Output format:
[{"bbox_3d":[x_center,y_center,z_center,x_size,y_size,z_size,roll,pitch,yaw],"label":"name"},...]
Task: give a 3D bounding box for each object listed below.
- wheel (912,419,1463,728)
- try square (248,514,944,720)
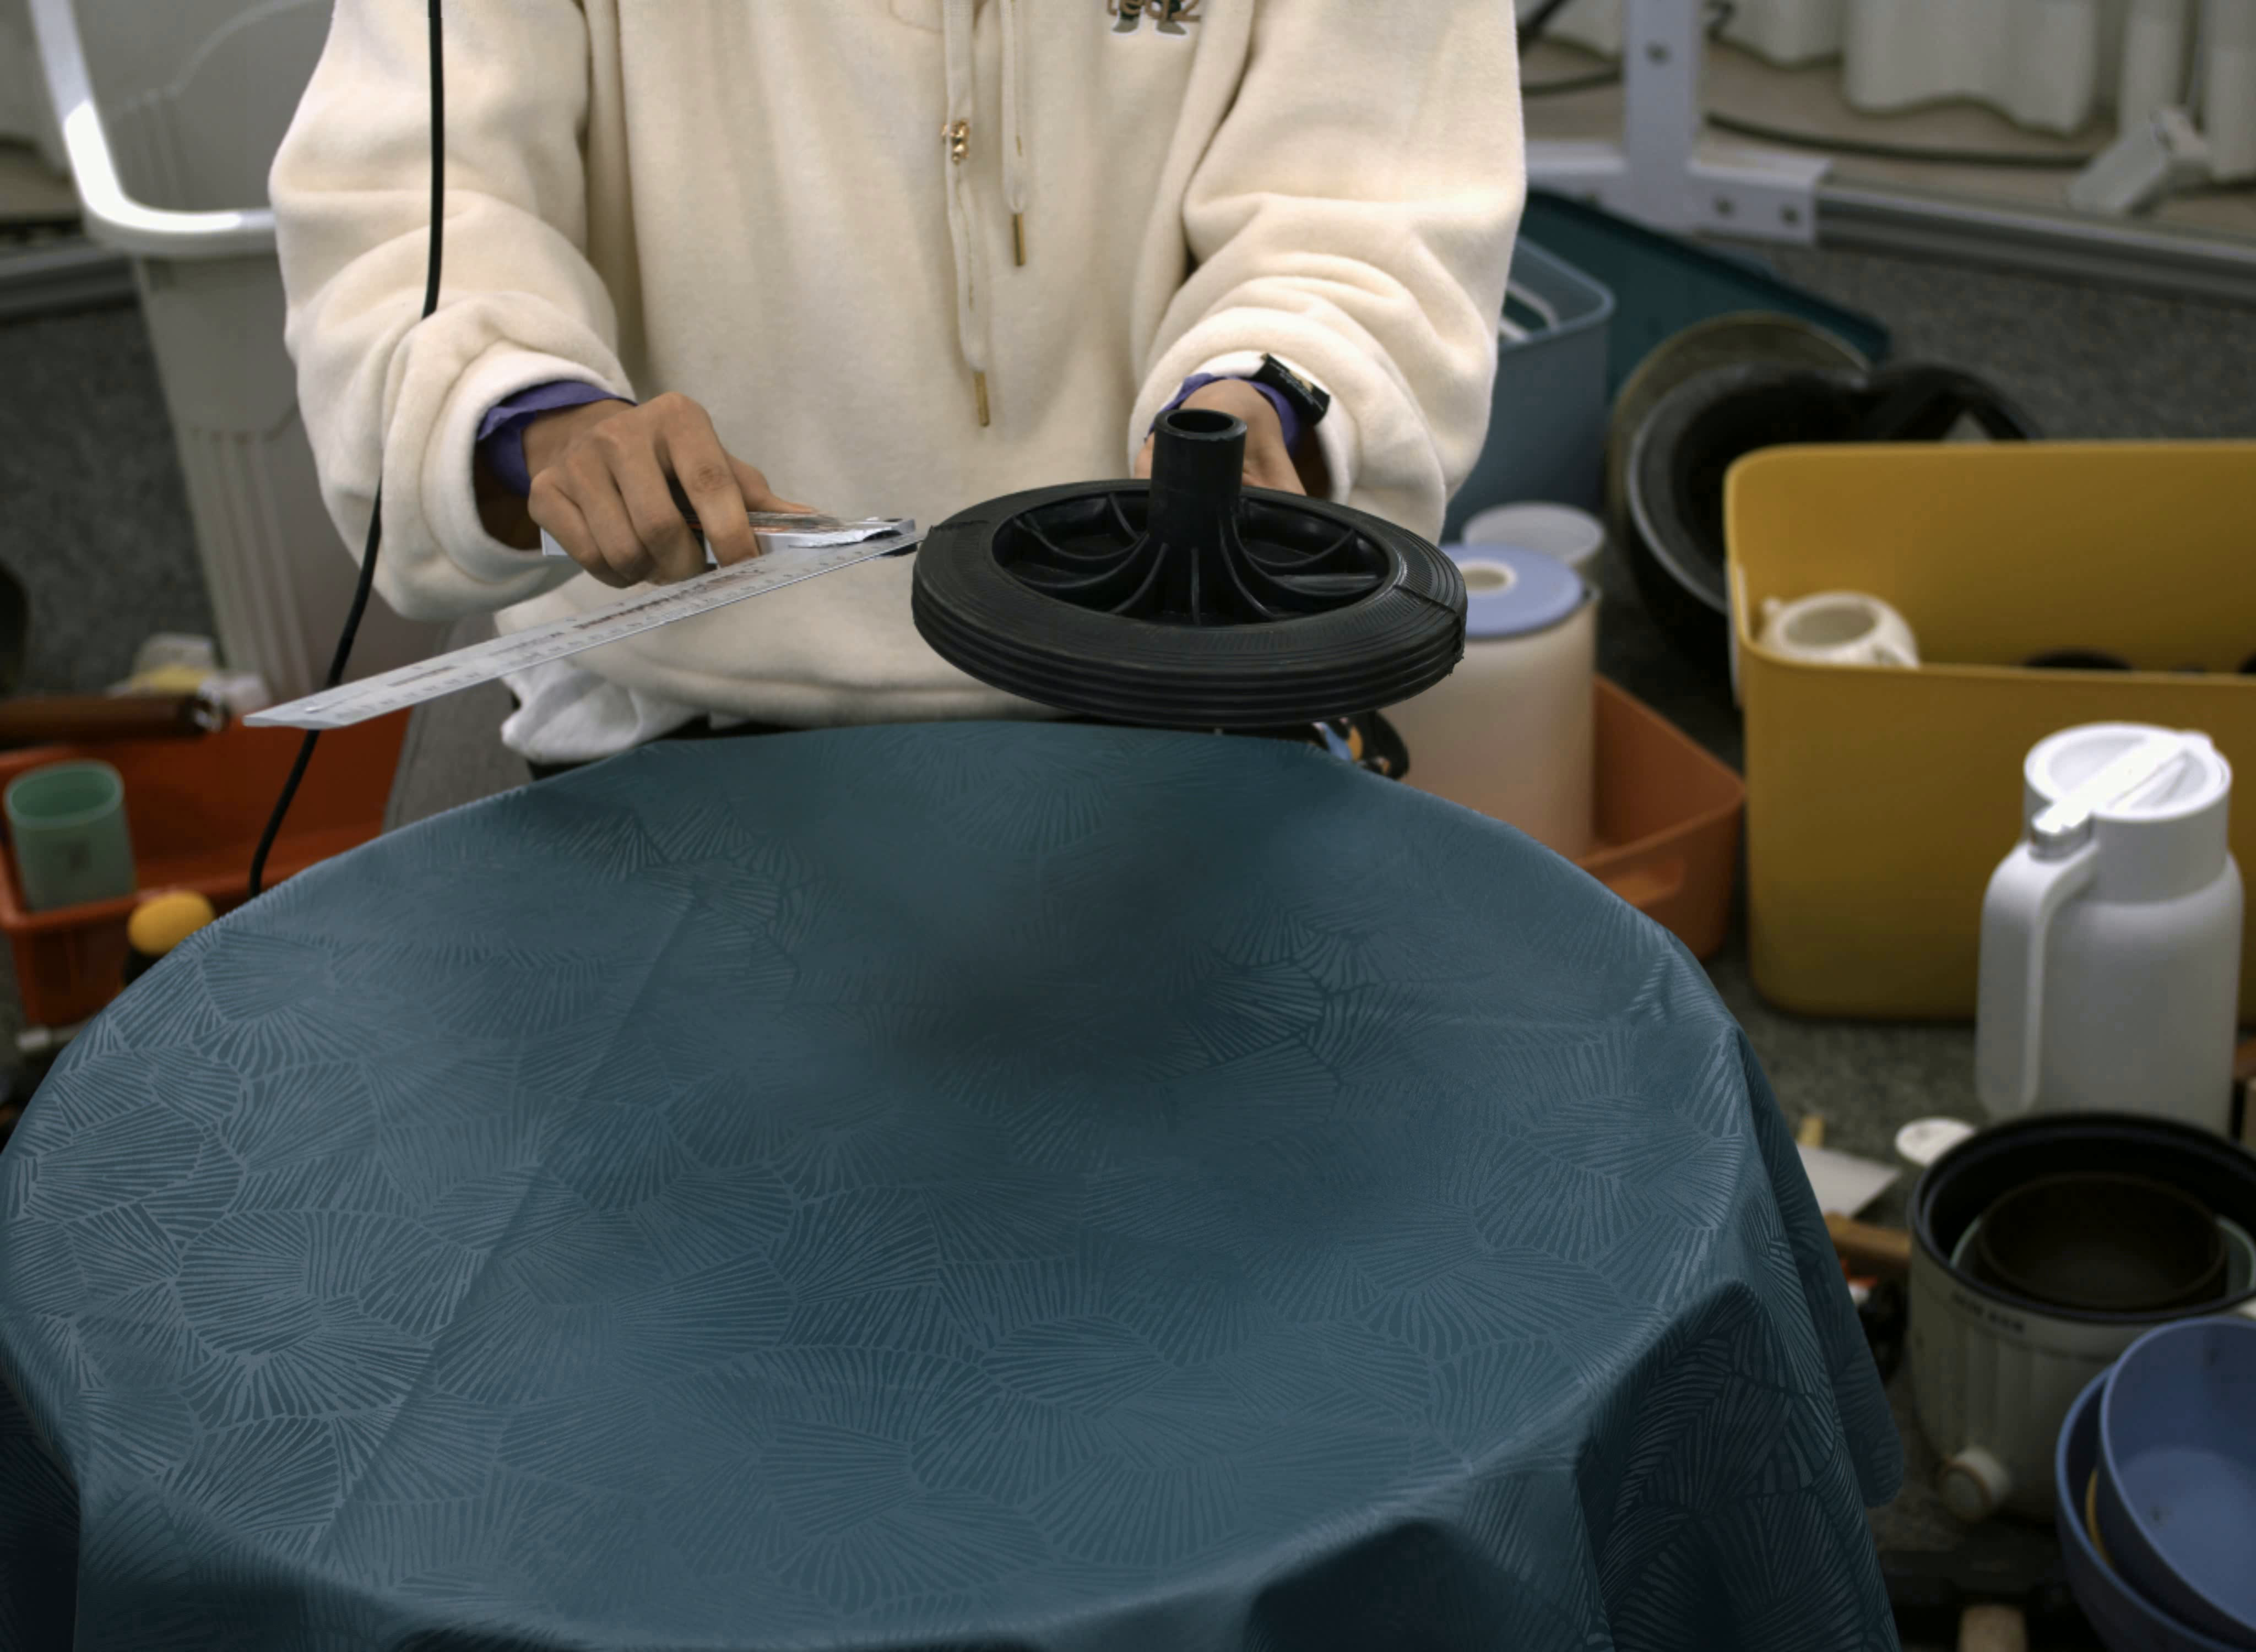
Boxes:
[{"bbox_3d":[0.022,-0.095,1.894,0.191,0.078,0.187,-12,27,-35],"label":"wheel"},{"bbox_3d":[-0.208,-0.067,1.848,0.151,0.016,0.316,-1,12,35],"label":"try square"}]
